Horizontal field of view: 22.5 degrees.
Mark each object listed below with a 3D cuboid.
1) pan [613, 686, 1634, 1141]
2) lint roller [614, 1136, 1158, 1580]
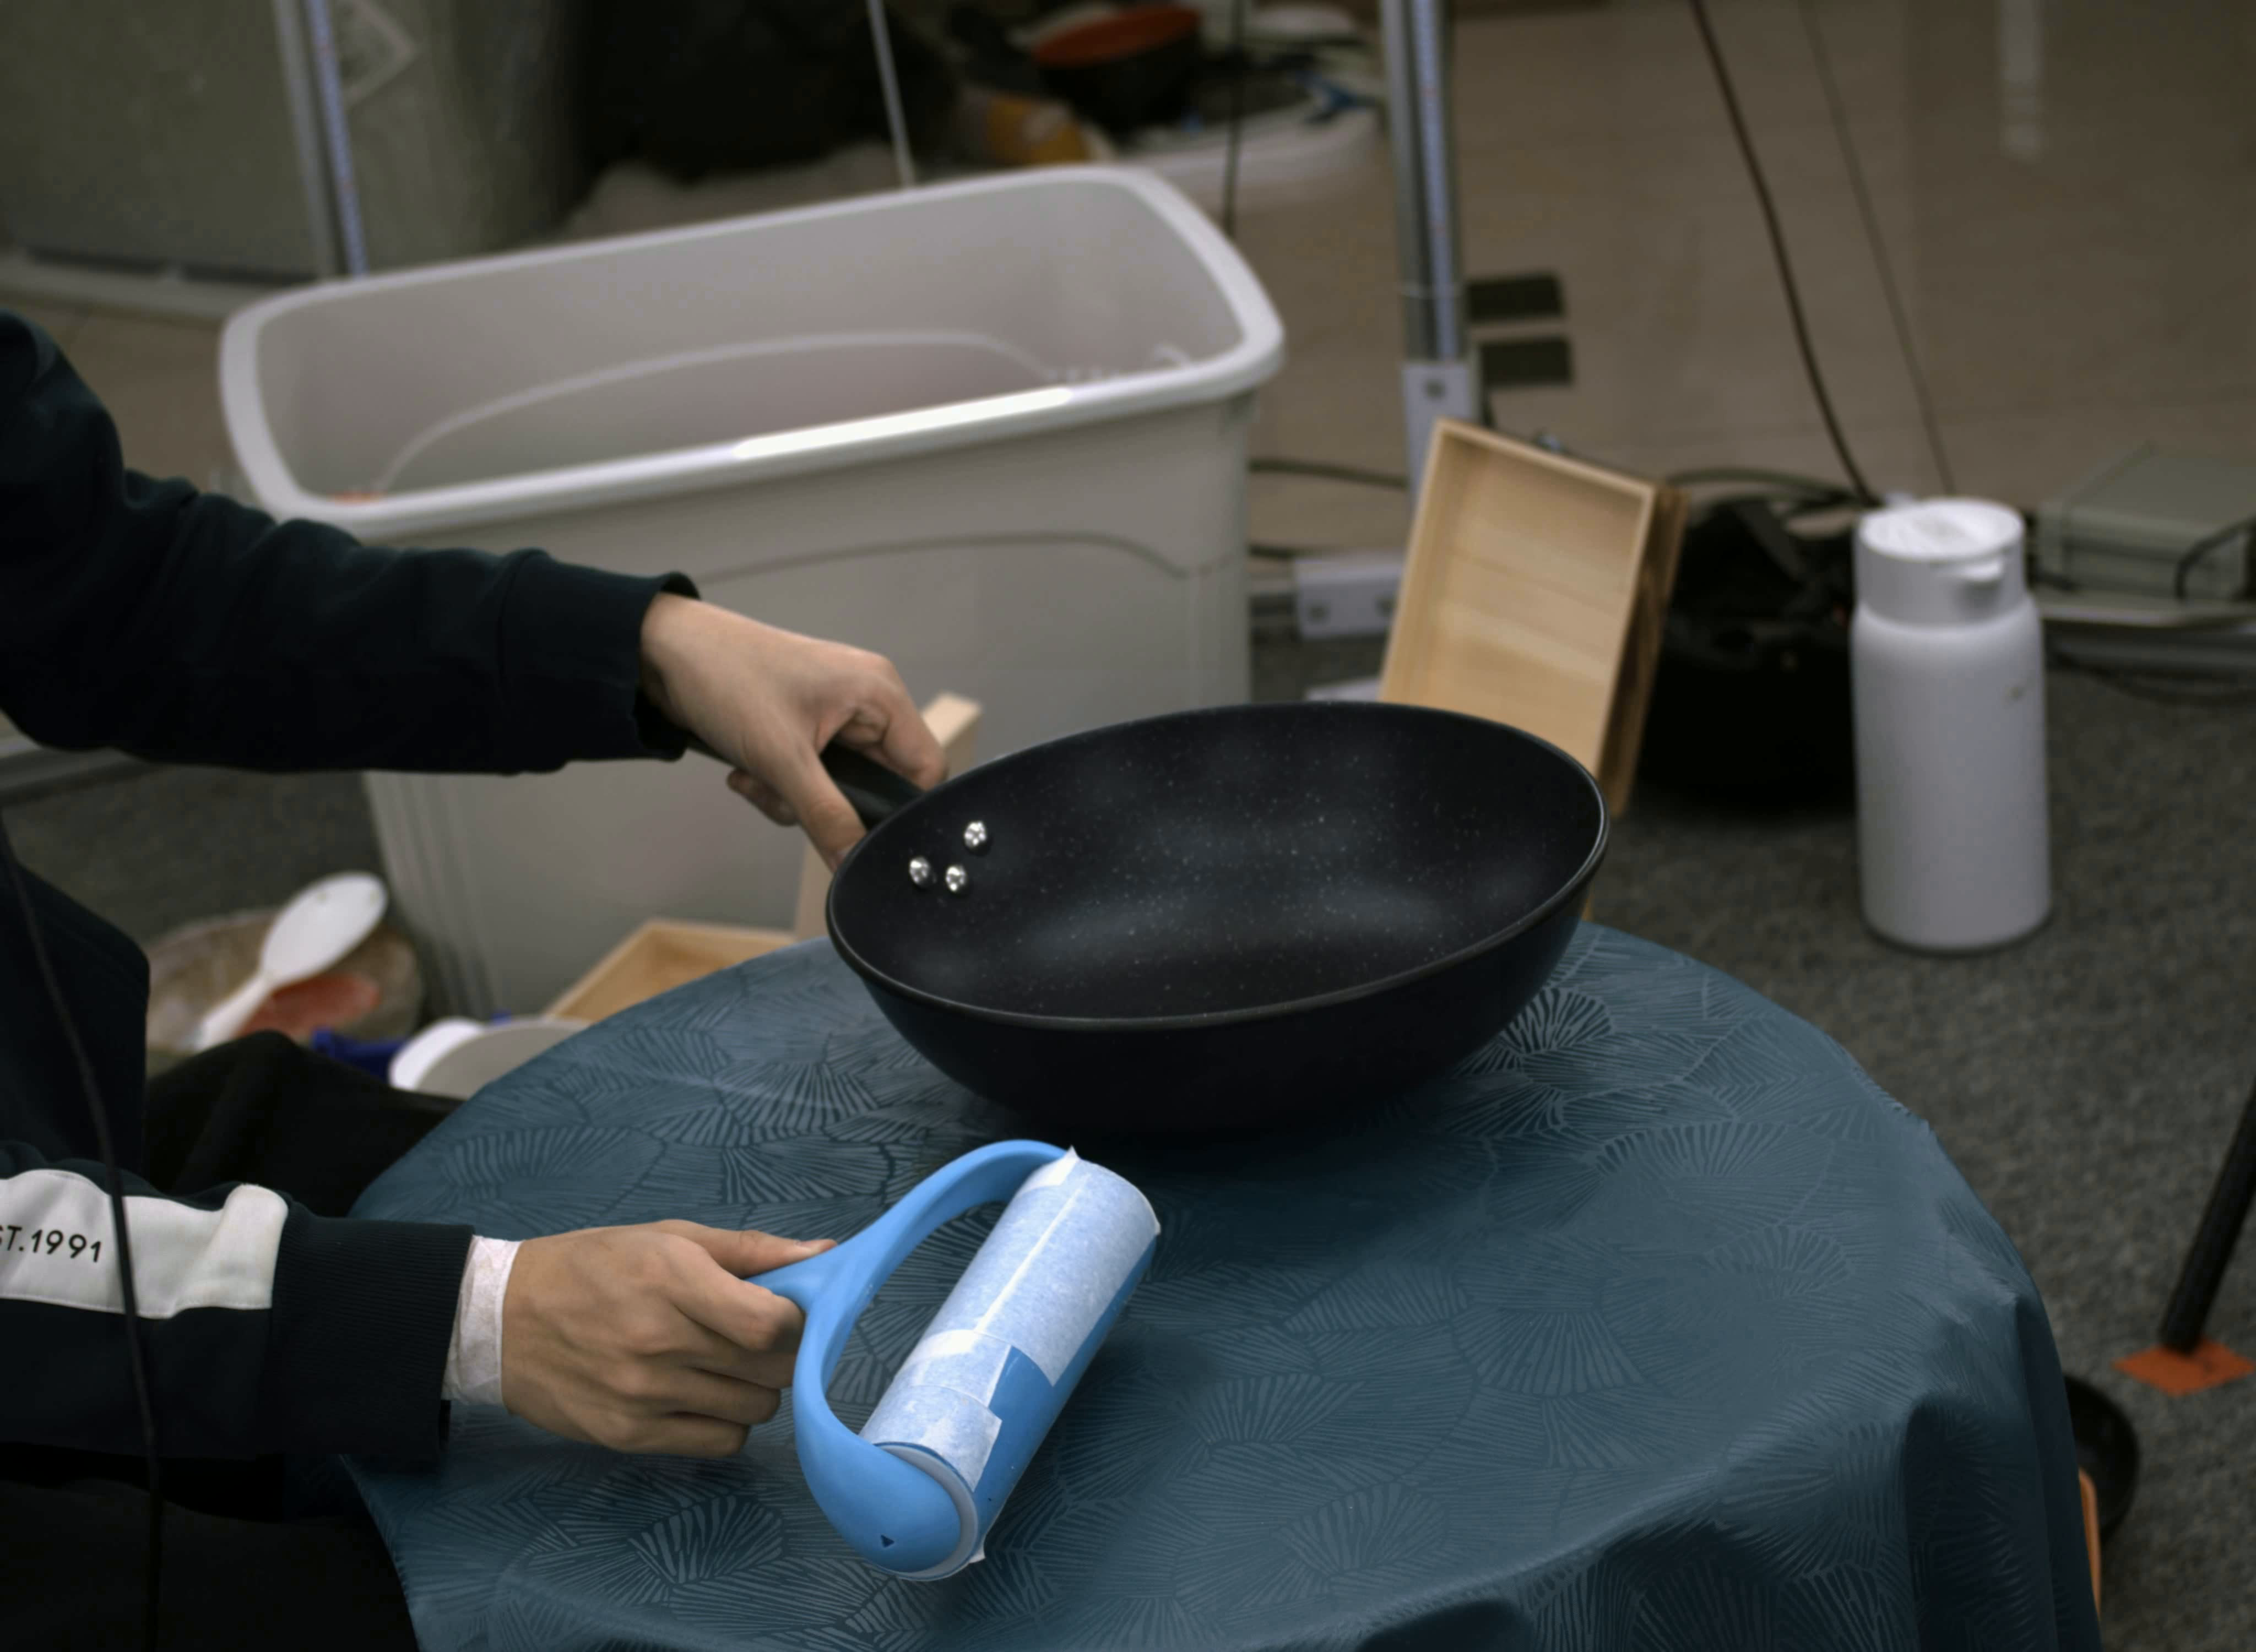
[{"bbox_3d":[-0.021,0.027,2.262,0.474,0.113,0.307,10,27,37],"label":"pan"},{"bbox_3d":[-0.099,0.182,1.966,0.180,0.069,0.225,1,29,16],"label":"lint roller"}]
